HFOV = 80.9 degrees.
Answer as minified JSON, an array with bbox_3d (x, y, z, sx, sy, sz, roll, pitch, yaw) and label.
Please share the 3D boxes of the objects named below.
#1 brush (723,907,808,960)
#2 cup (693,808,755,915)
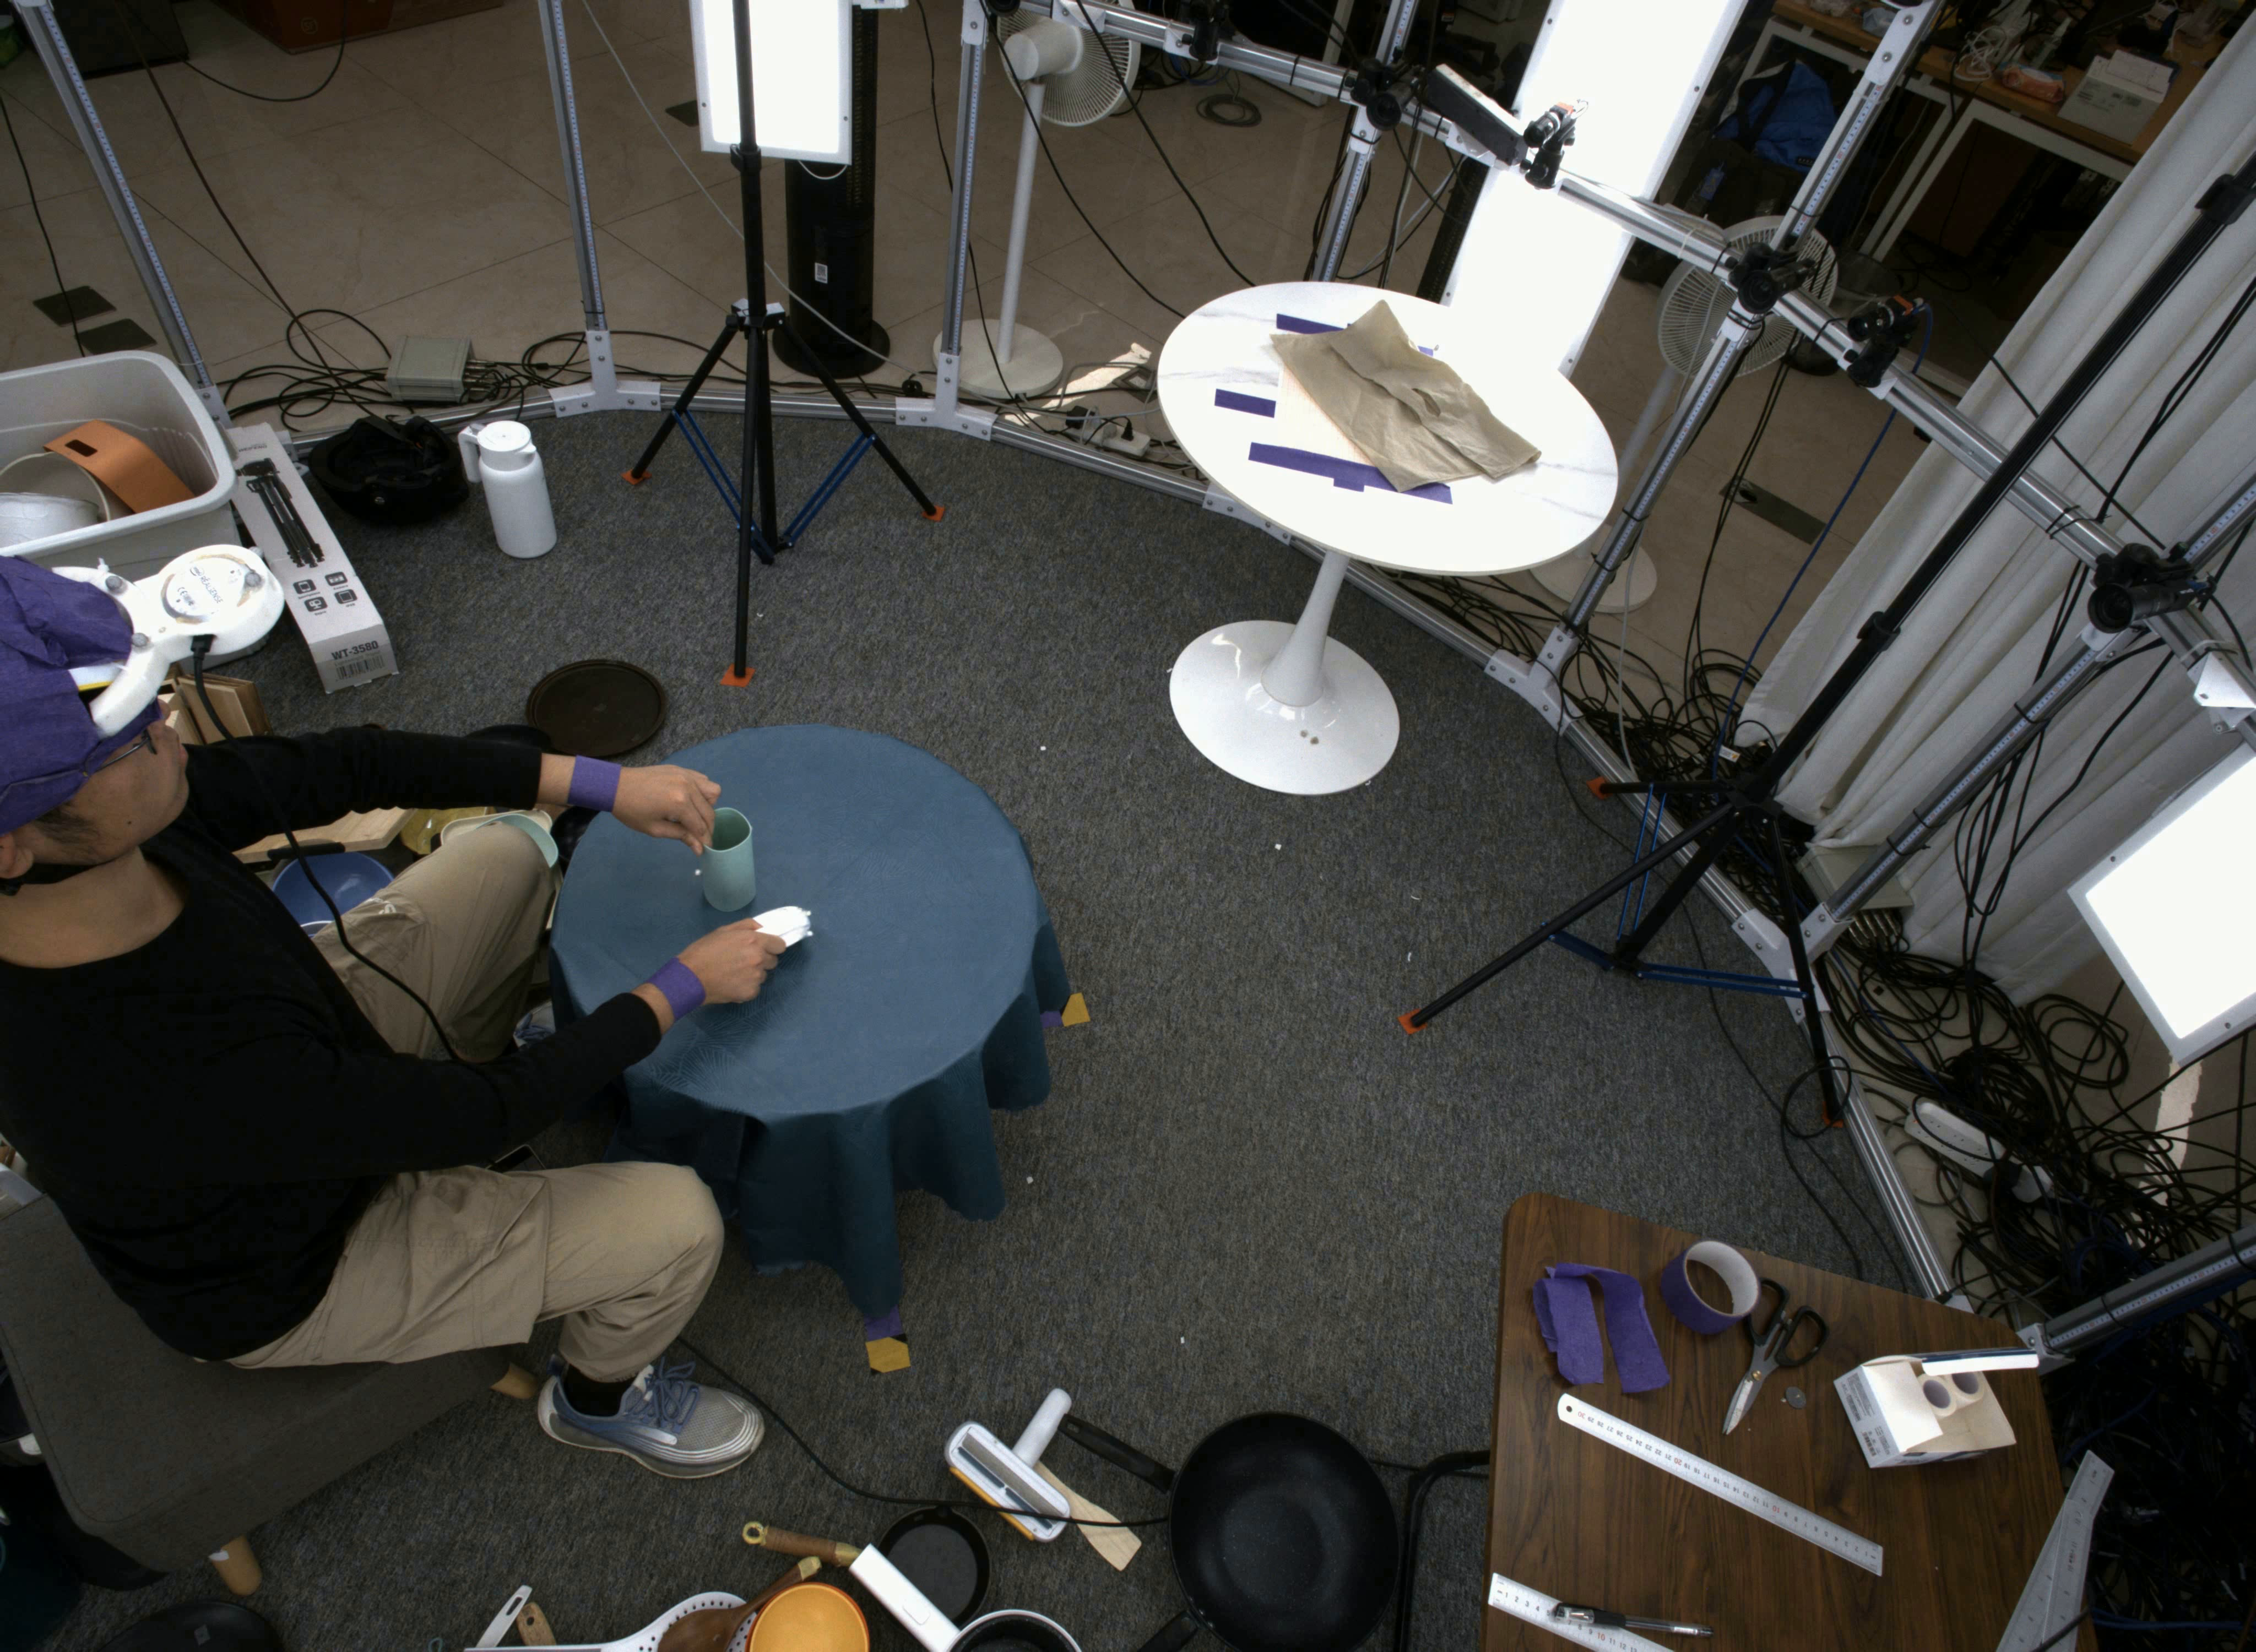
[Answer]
[{"bbox_3d":[-0.436,0.127,1.574,0.100,0.071,0.051,-19,93,-34],"label":"brush"},{"bbox_3d":[-0.497,0.044,1.597,0.066,0.135,0.065,7,51,-7],"label":"cup"}]
